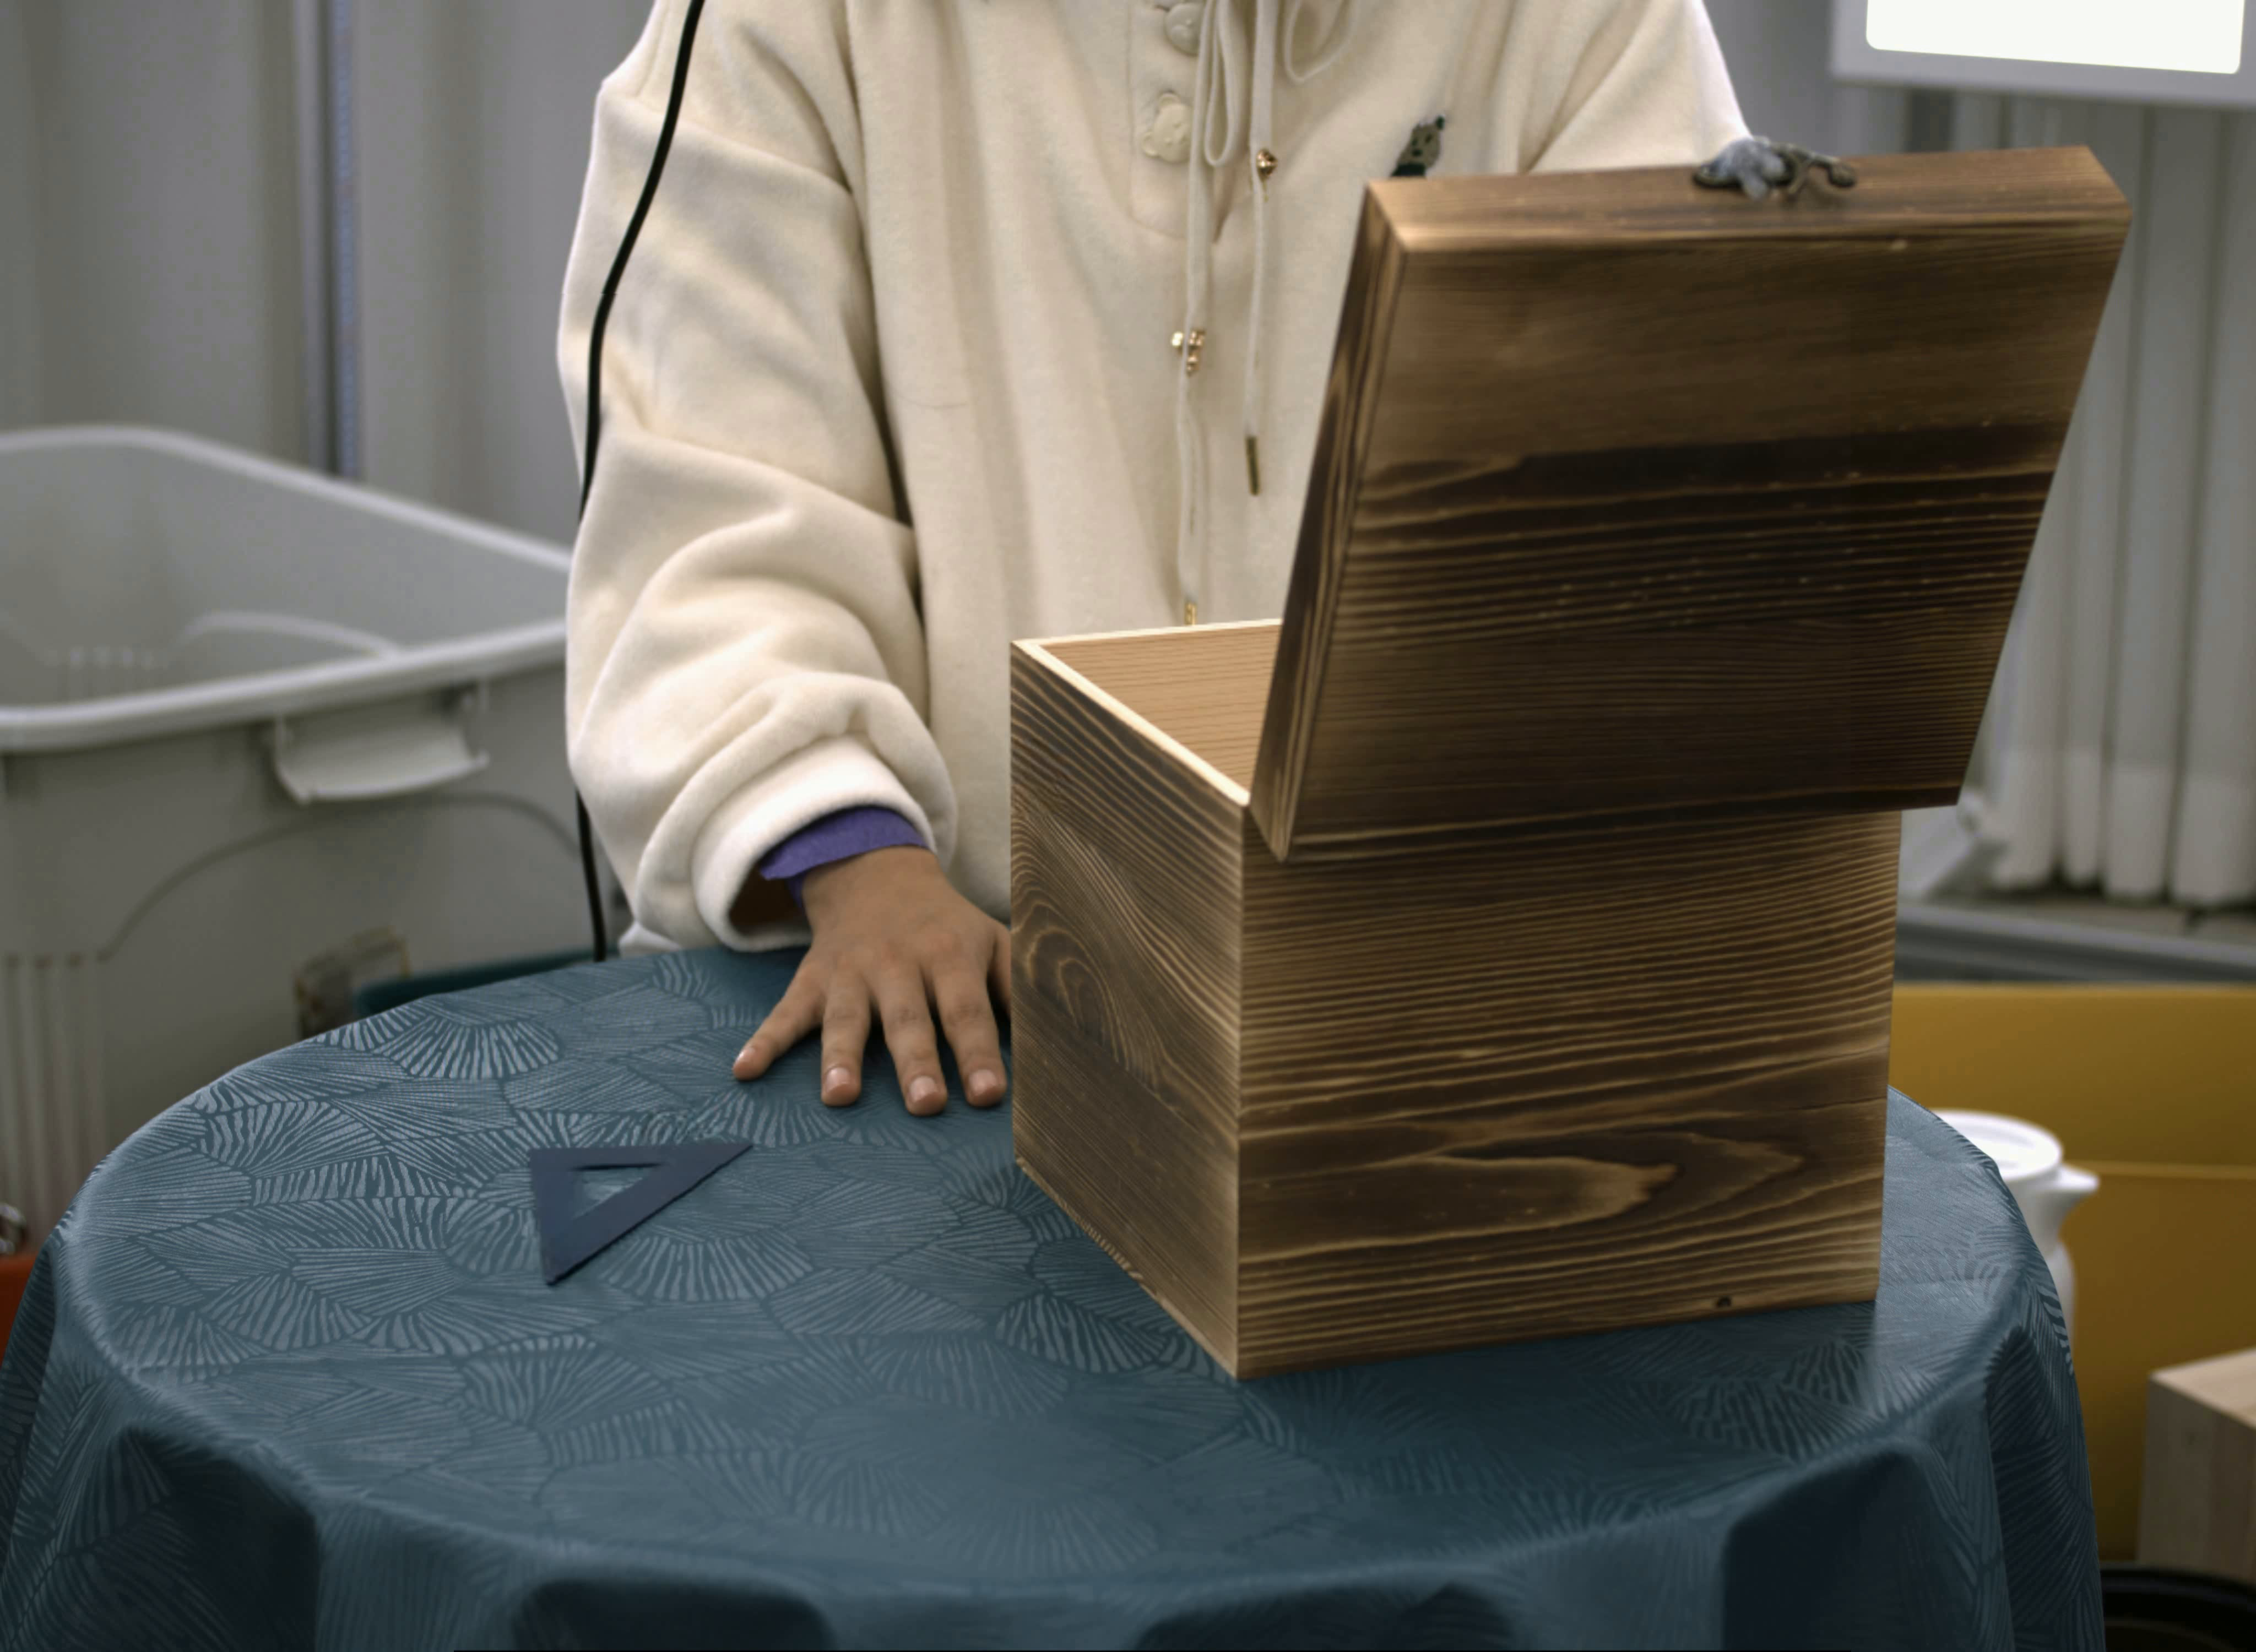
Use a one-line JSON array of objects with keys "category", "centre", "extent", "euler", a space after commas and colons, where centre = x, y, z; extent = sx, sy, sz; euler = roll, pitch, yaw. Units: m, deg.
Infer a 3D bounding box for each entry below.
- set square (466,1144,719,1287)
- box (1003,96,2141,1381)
[{"category": "set square", "centre": [-0.180, 0.114, 1.600], "extent": [0.060, 0.006, 0.132], "euler": [10, 18, 24]}, {"category": "box", "centre": [0.111, -0.037, 1.494], "extent": [0.209, 0.378, 0.318], "euler": [-5, 18, -19]}]
